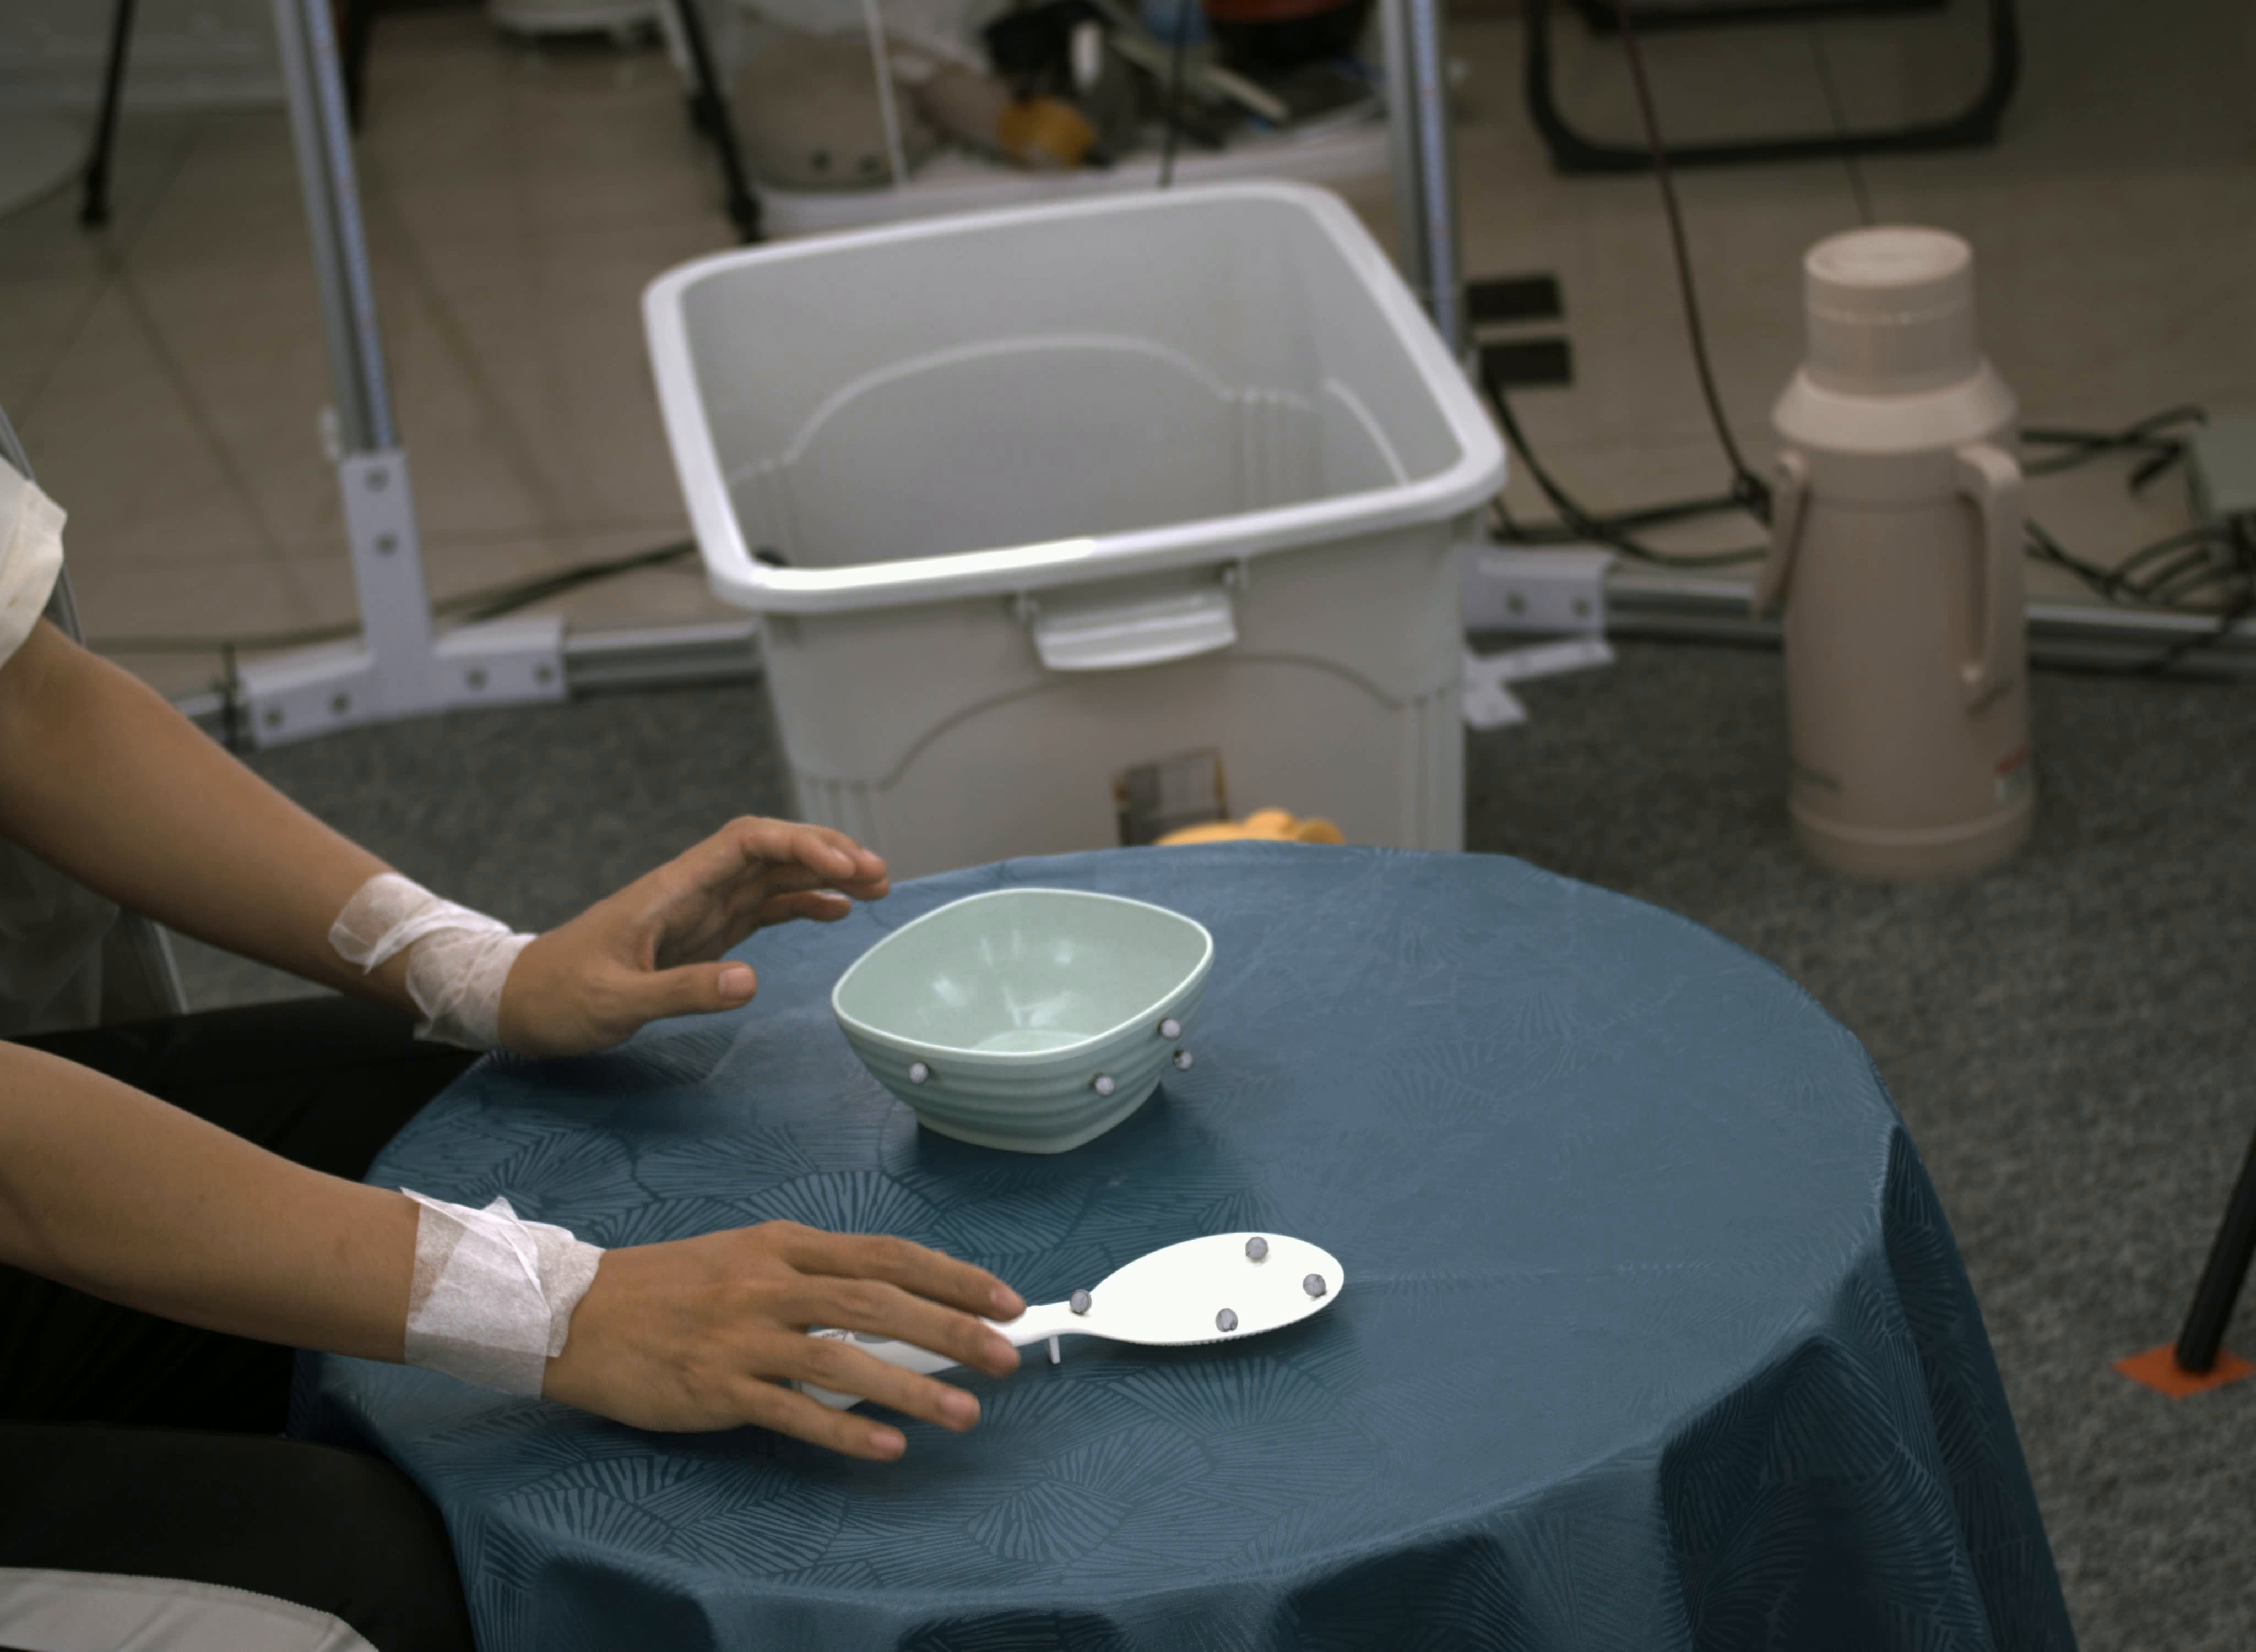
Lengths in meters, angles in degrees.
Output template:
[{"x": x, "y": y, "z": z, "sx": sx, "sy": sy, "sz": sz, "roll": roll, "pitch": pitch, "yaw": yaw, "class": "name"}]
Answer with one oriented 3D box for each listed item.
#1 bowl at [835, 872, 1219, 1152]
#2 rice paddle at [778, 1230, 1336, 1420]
[{"x": -0.037, "y": 0.078, "z": 2.217, "sx": 0.151, "sy": 0.059, "sz": 0.149, "roll": -4, "pitch": 29, "yaw": 2, "class": "bowl"}, {"x": -0.024, "y": 0.176, "z": 2.041, "sx": 0.205, "sy": 0.030, "sz": 0.068, "roll": -12, "pitch": 27, "yaw": -11, "class": "rice paddle"}]
